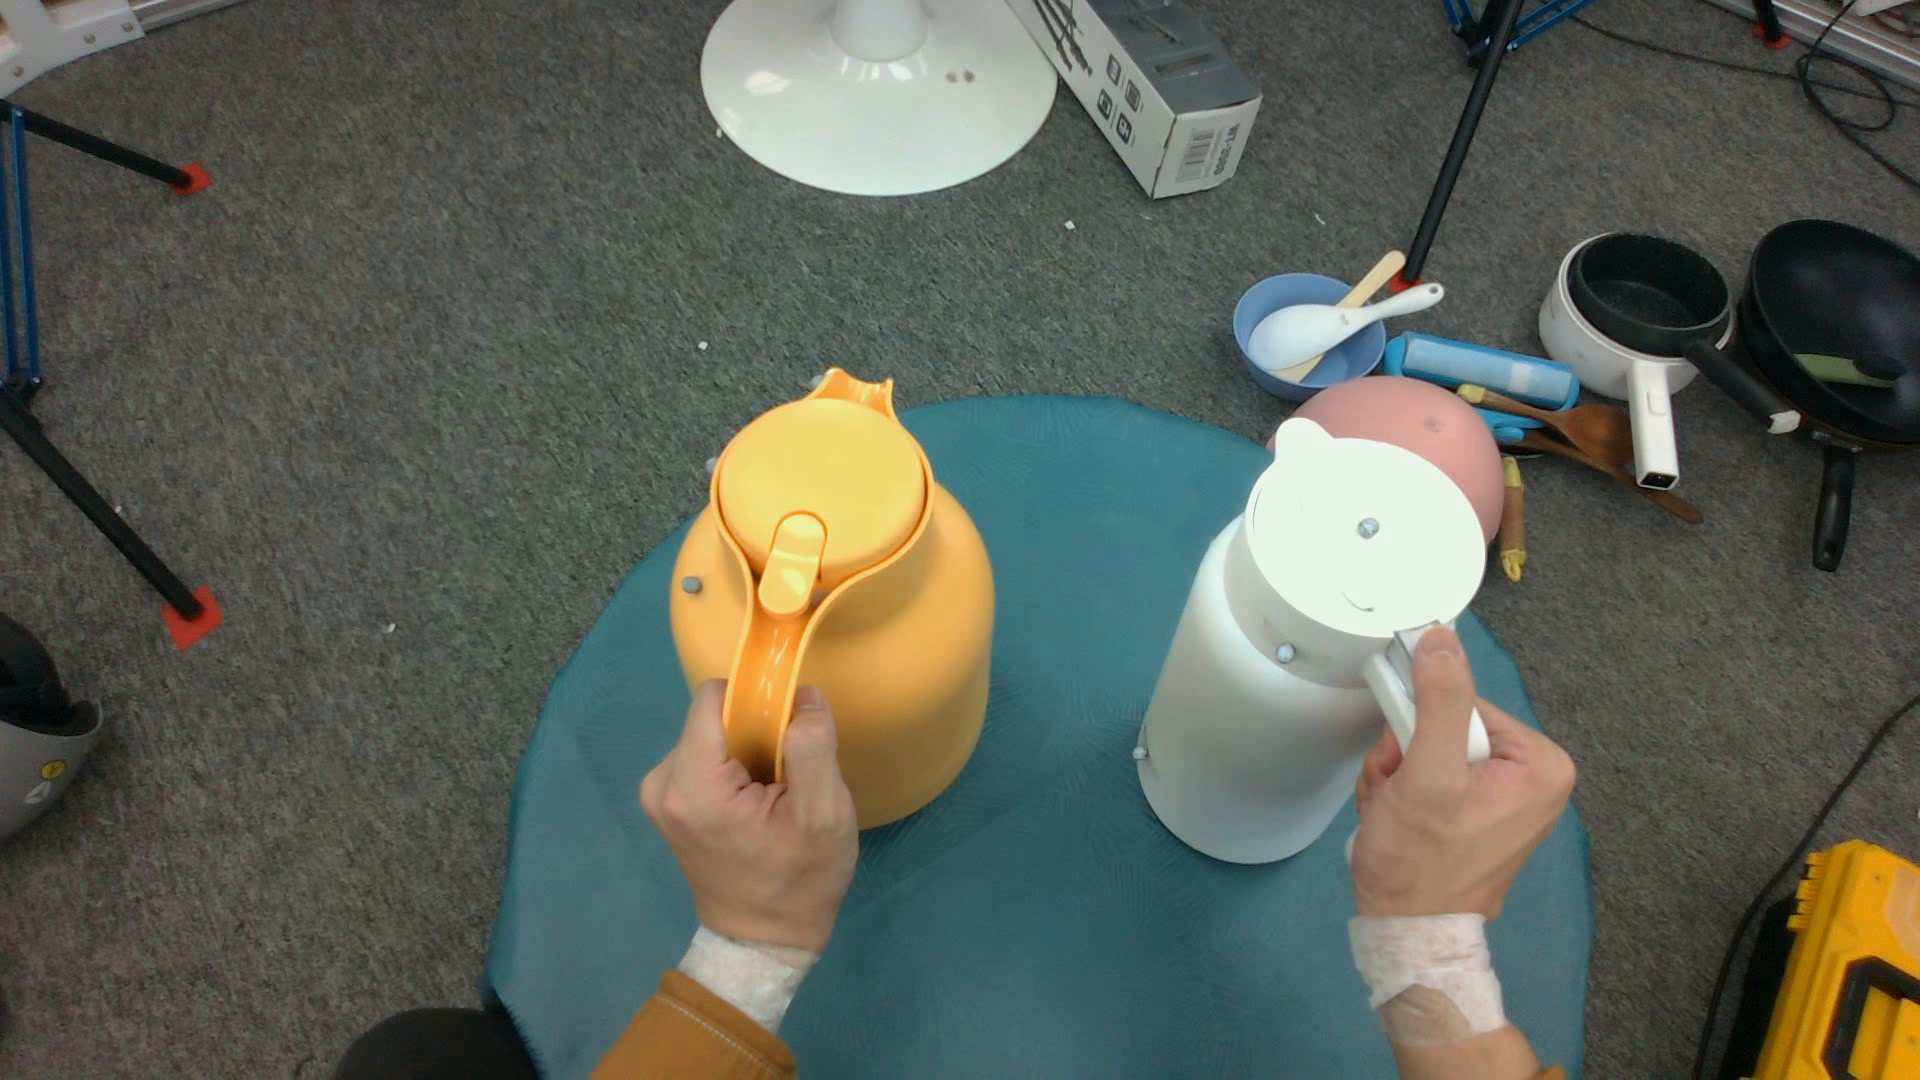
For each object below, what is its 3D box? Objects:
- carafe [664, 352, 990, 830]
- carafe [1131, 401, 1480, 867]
[{"bbox_3d":[-0.072,0.047,0.681,0.163,0.259,0.203,13,57,8],"label":"carafe"},{"bbox_3d":[0.167,0.074,0.676,0.124,0.267,0.173,-14,60,-13],"label":"carafe"}]
